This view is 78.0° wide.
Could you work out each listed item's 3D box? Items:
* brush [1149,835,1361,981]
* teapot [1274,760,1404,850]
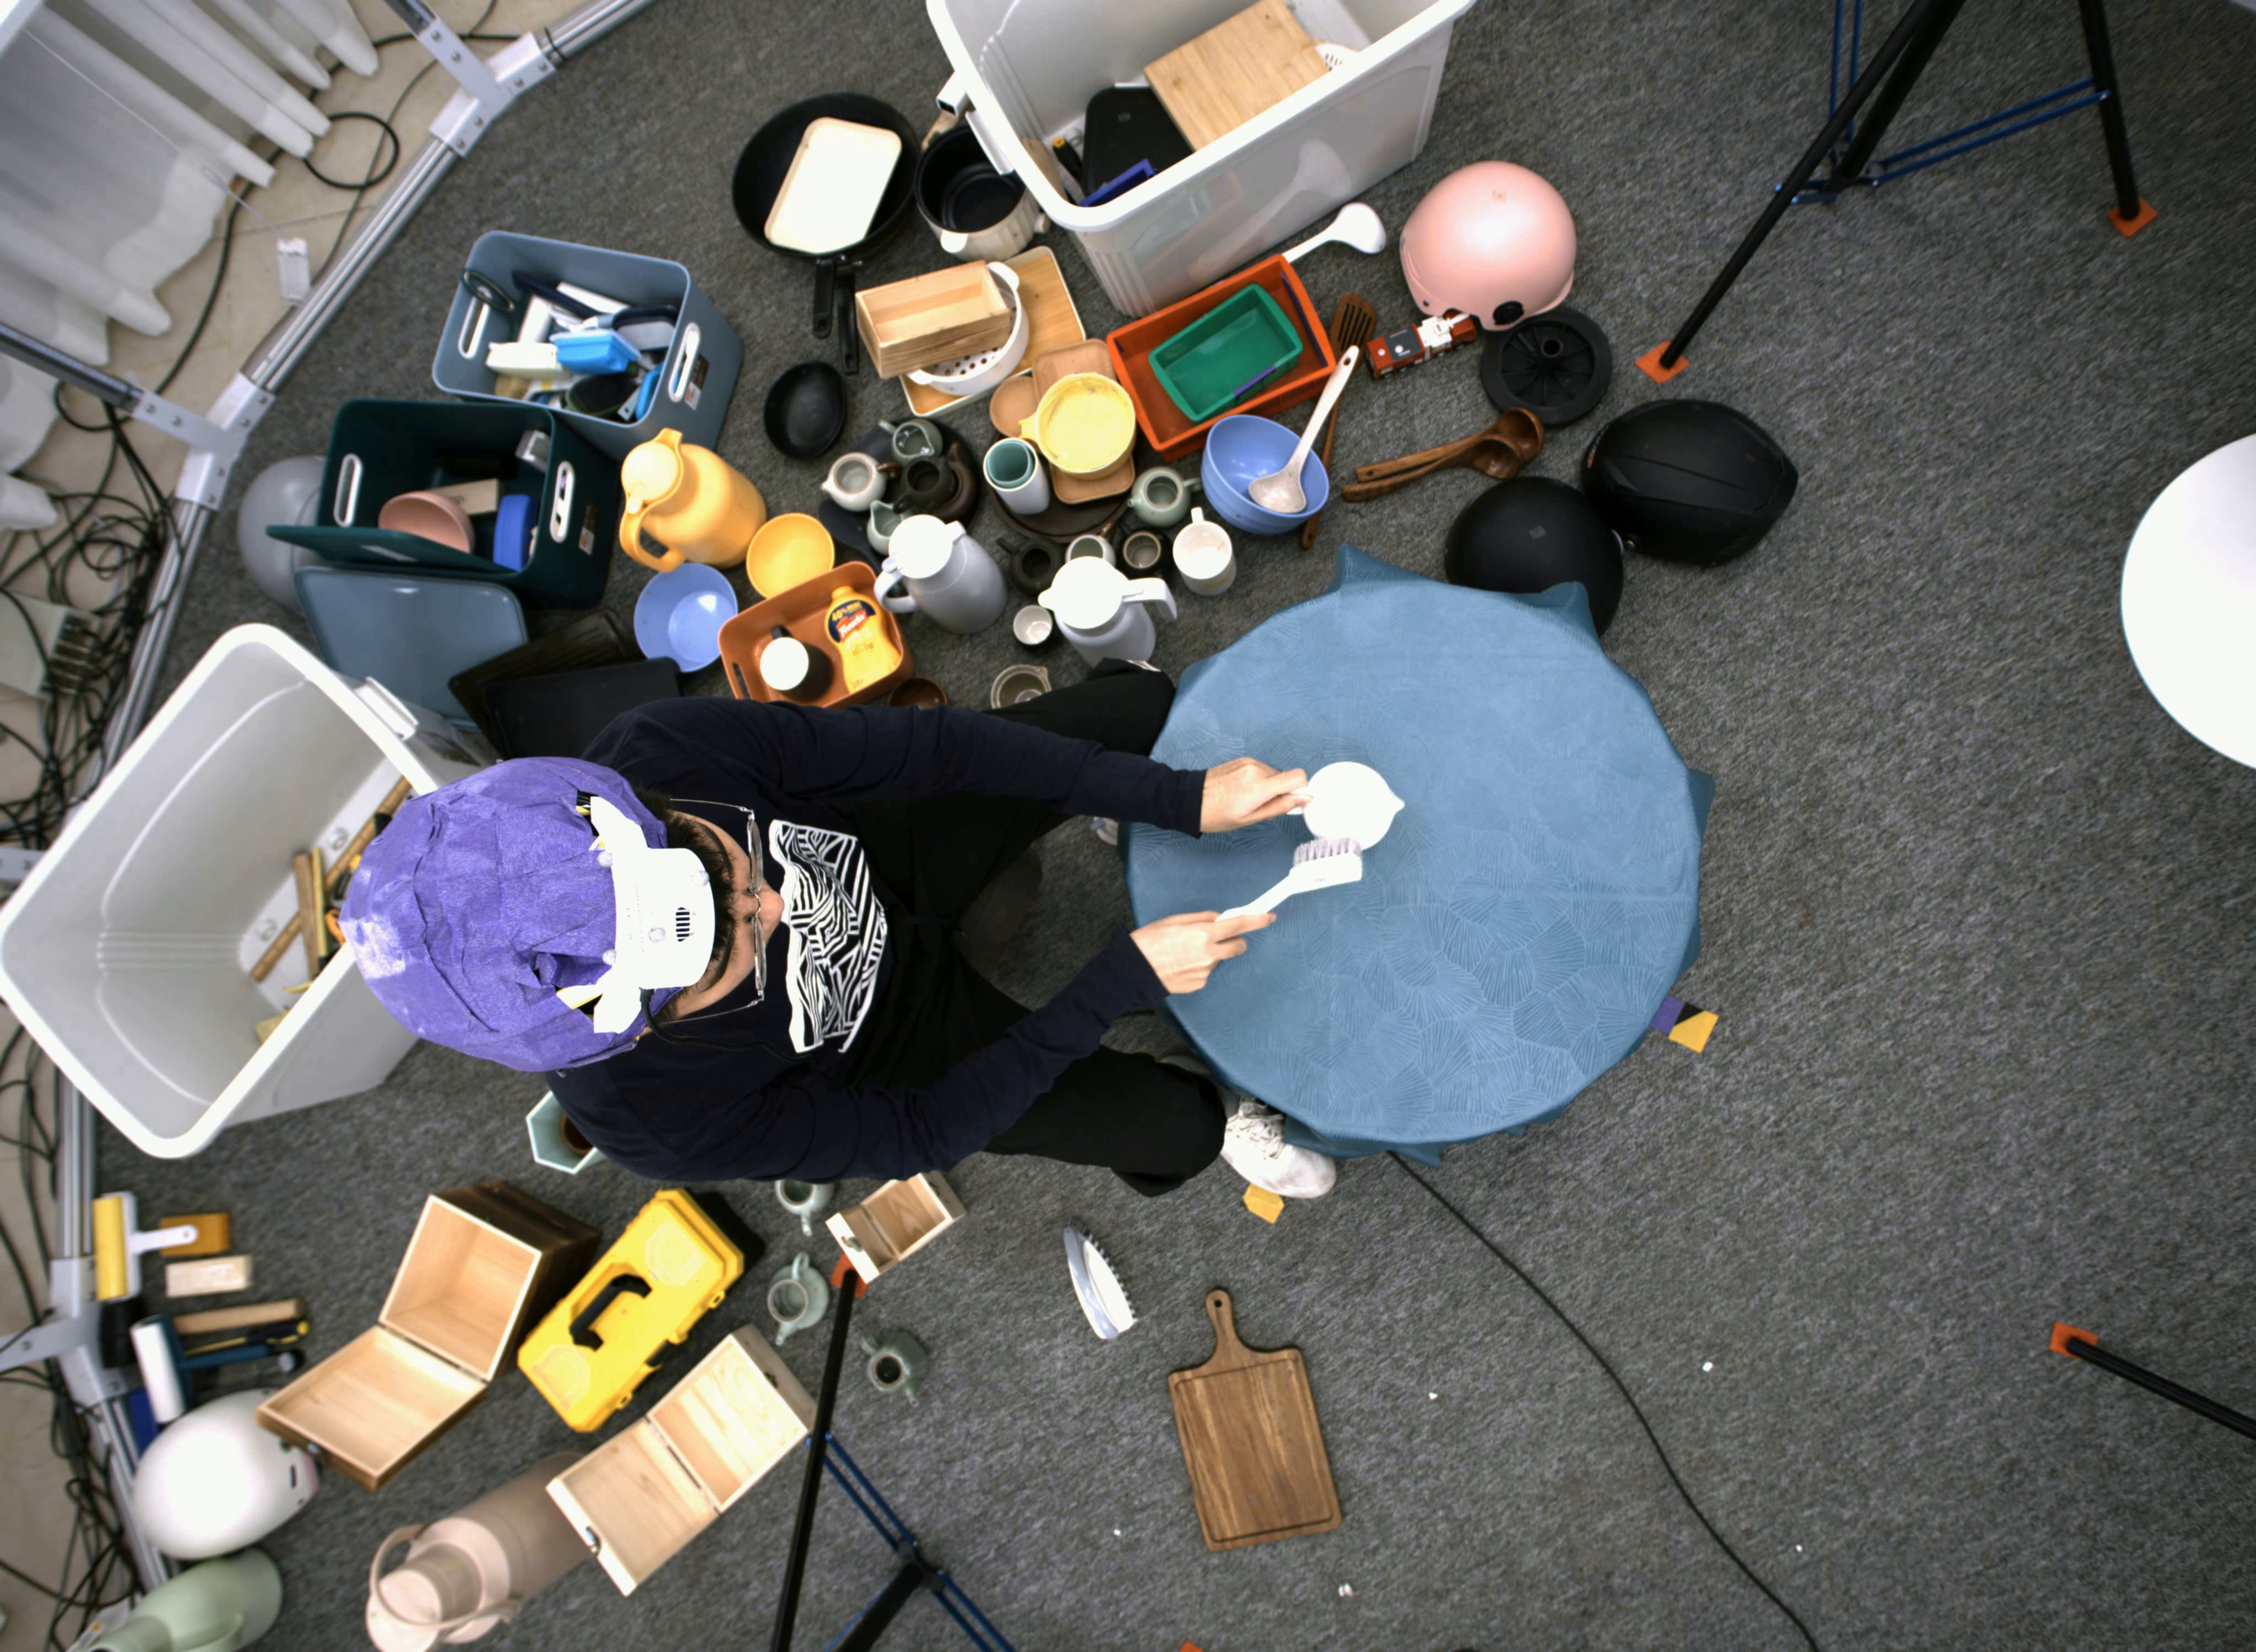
[{"bbox_3d":[0.122,0.078,1.376,0.245,0.035,0.049,-29,53,9],"label":"brush"},{"bbox_3d":[0.211,-0.022,1.394,0.127,0.057,0.092,3,72,-4],"label":"teapot"}]
